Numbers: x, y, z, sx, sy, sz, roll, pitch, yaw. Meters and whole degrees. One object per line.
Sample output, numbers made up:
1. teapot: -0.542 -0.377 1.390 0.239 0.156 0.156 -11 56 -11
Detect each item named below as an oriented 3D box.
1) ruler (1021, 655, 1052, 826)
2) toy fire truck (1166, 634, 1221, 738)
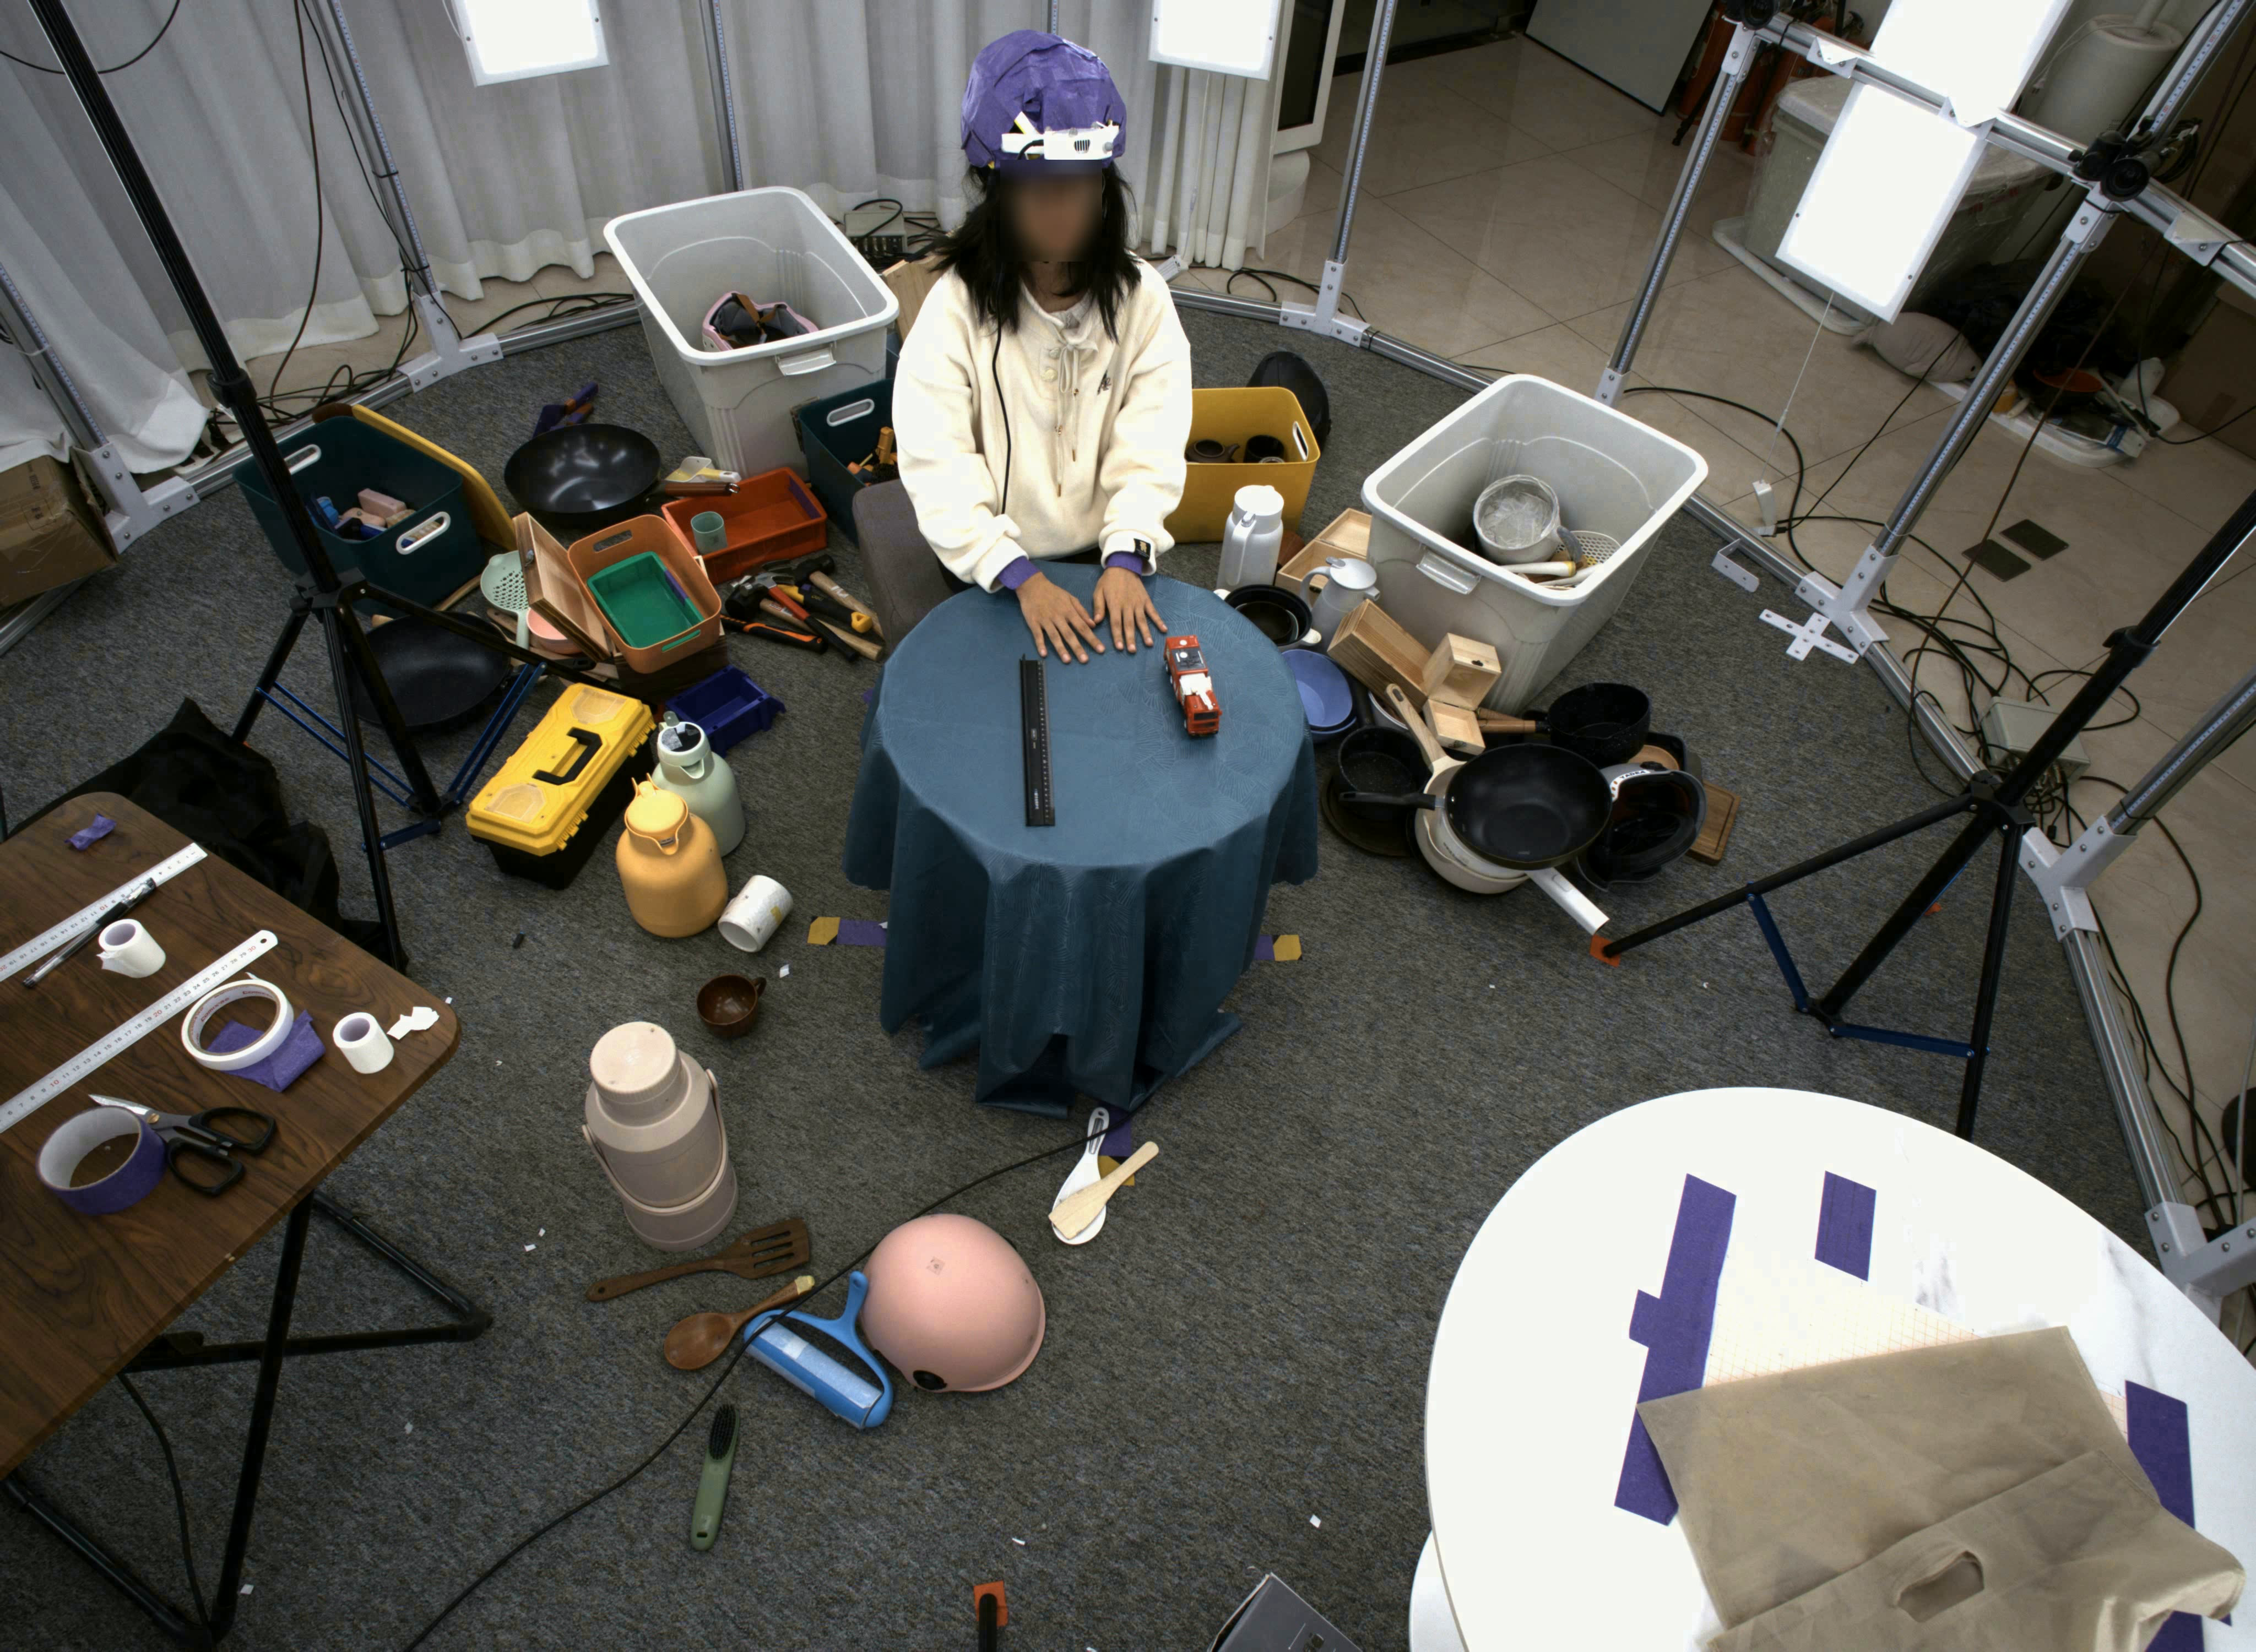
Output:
1. ruler: -0.126 -0.124 1.759 0.039 0.017 0.320 2 49 -7
2. toy fire truck: 0.091 -0.199 1.811 0.054 0.068 0.172 -7 49 -9
